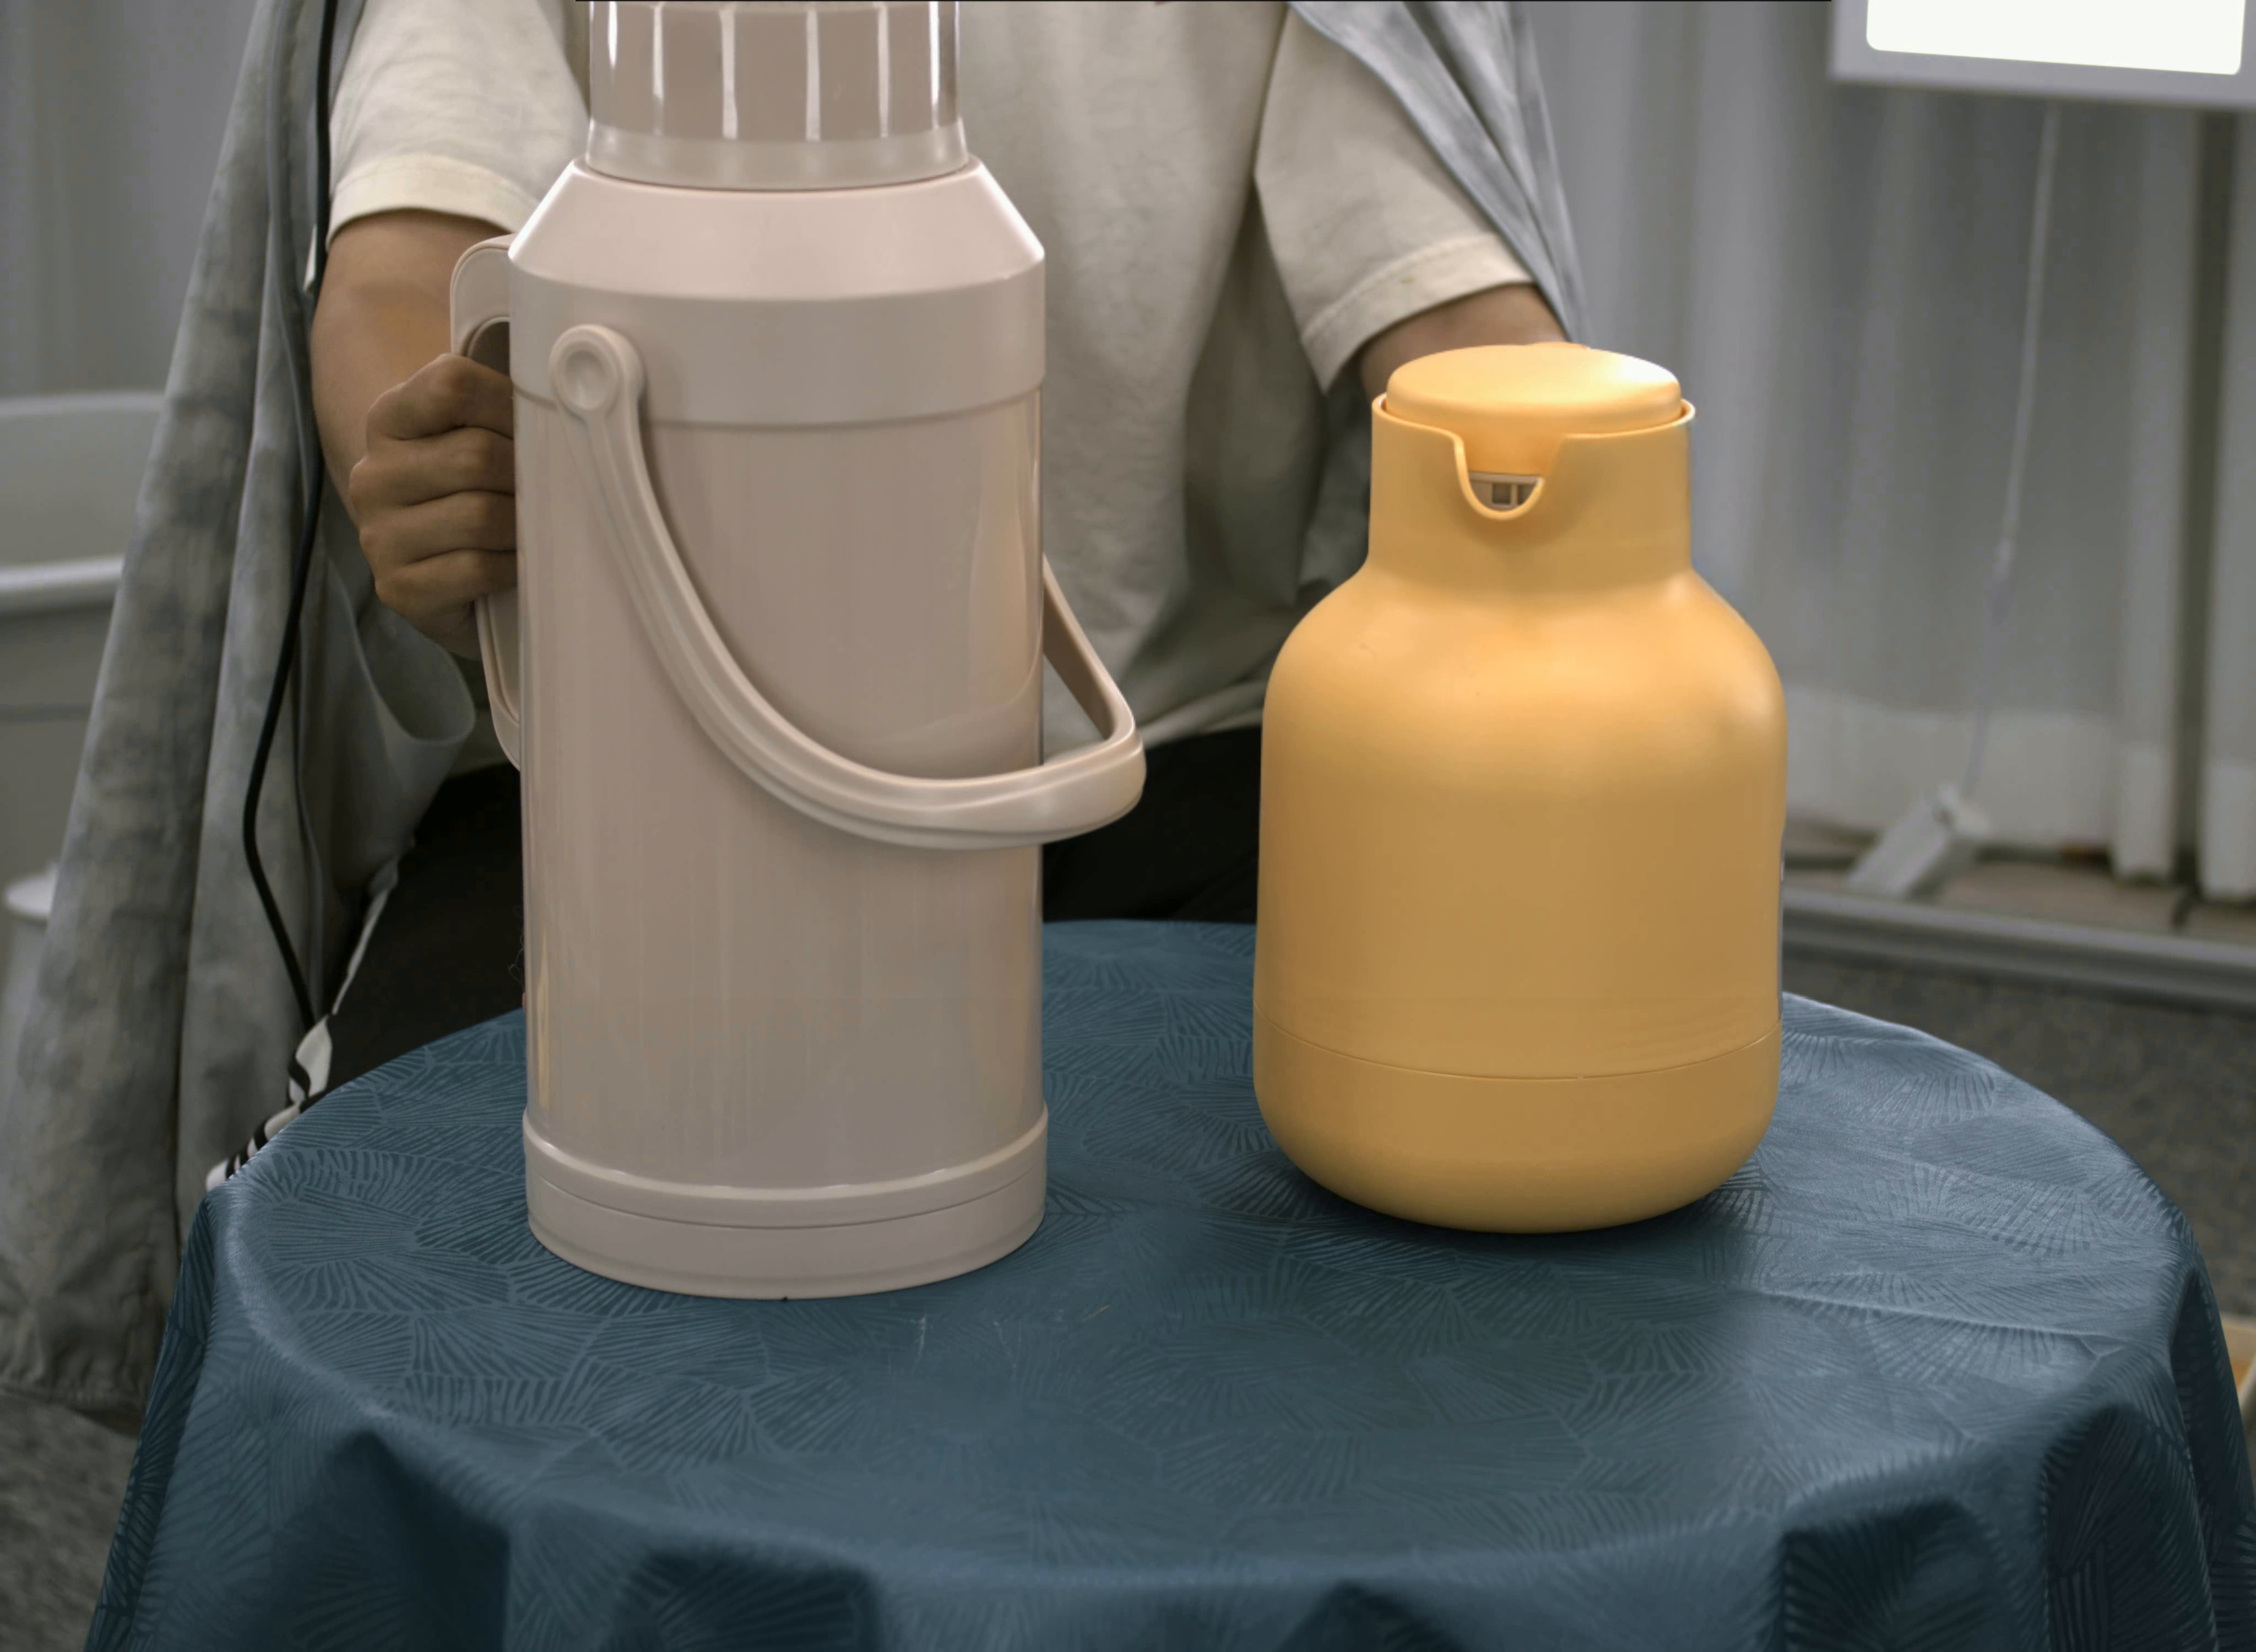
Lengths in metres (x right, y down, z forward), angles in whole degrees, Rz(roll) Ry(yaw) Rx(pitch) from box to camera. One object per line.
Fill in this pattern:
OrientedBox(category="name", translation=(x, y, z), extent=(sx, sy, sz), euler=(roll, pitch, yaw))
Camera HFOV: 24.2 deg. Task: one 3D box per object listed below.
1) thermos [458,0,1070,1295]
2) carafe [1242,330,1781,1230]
OrientedBox(category="thermos", translation=(-0.113, -0.077, 1.559), extent=(0.204, 0.410, 0.176), euler=(12, 21, 33))
OrientedBox(category="carafe", translation=(0.124, -0.022, 1.624), extent=(0.162, 0.262, 0.202), euler=(6, 18, 11))
